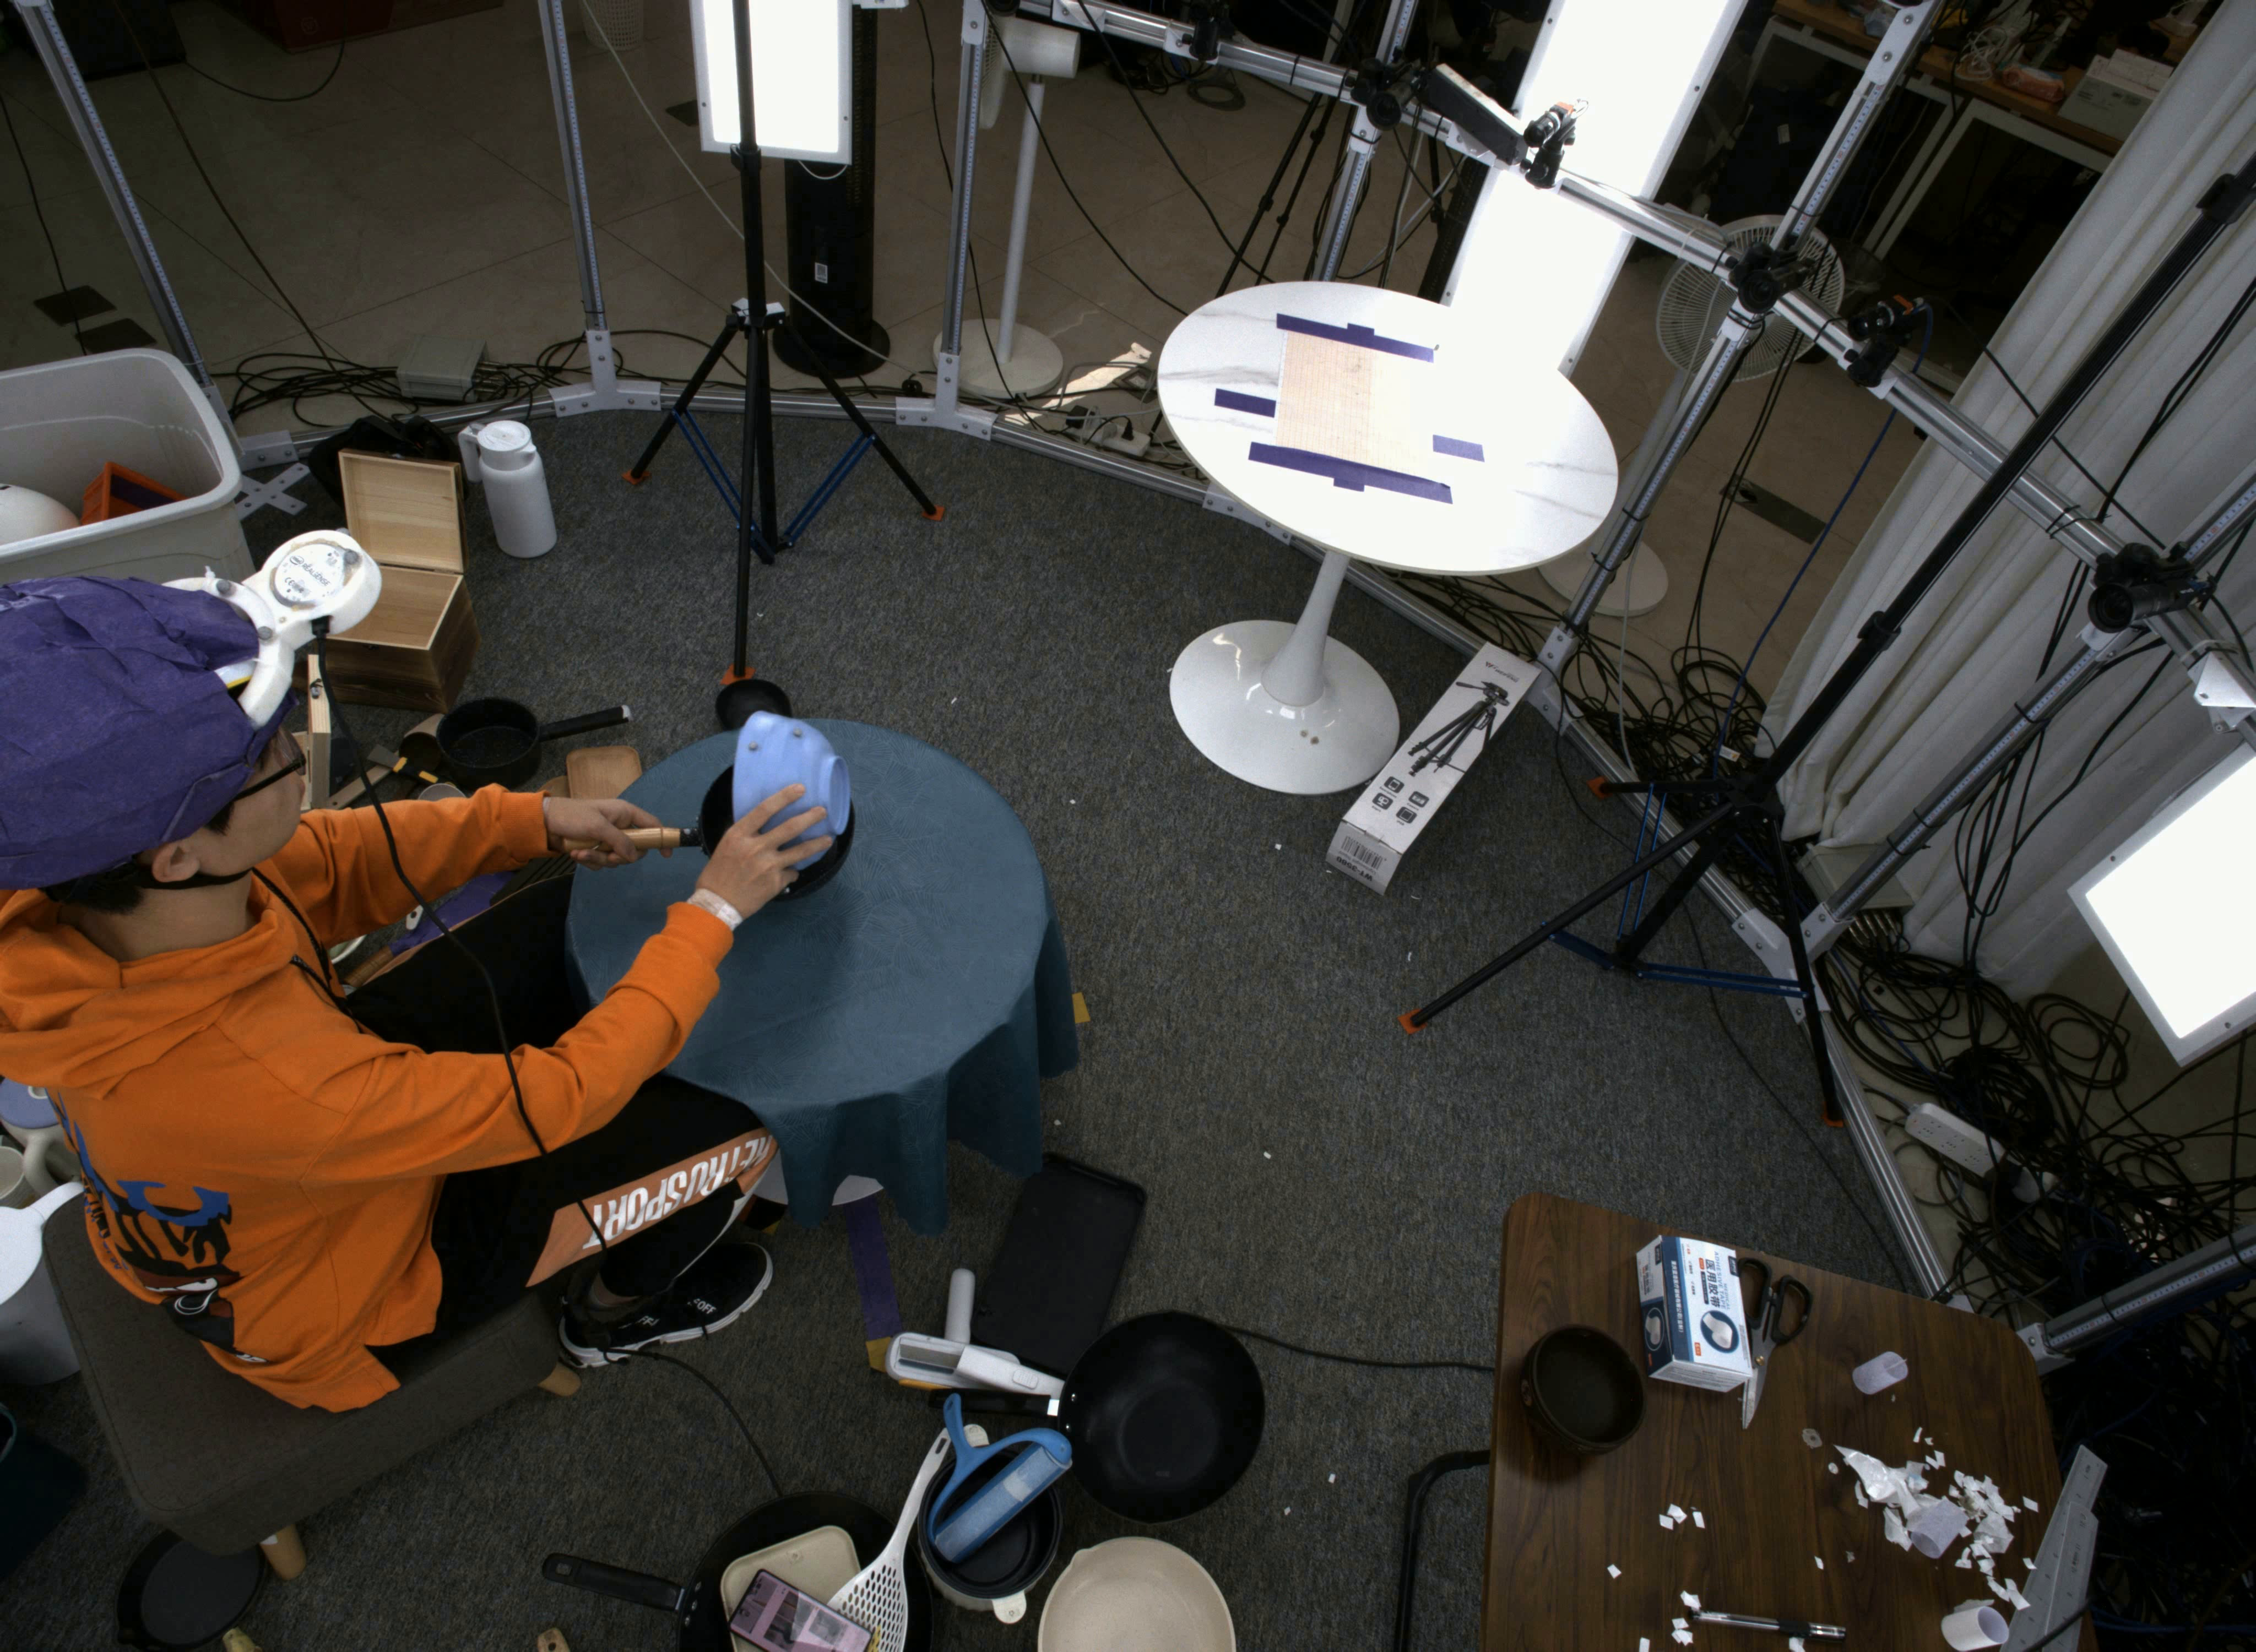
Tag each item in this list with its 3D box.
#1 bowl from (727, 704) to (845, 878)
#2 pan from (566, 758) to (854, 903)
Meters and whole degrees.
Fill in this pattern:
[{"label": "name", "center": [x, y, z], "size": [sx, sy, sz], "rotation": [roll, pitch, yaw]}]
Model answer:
[{"label": "bowl", "center": [-0.383, -0.041, 1.488], "size": [0.094, 0.202, 0.193], "rotation": [0, 51, 2]}, {"label": "pan", "center": [-0.503, 0.014, 1.555], "size": [0.344, 0.109, 0.205], "rotation": [-9, 71, -20]}]
